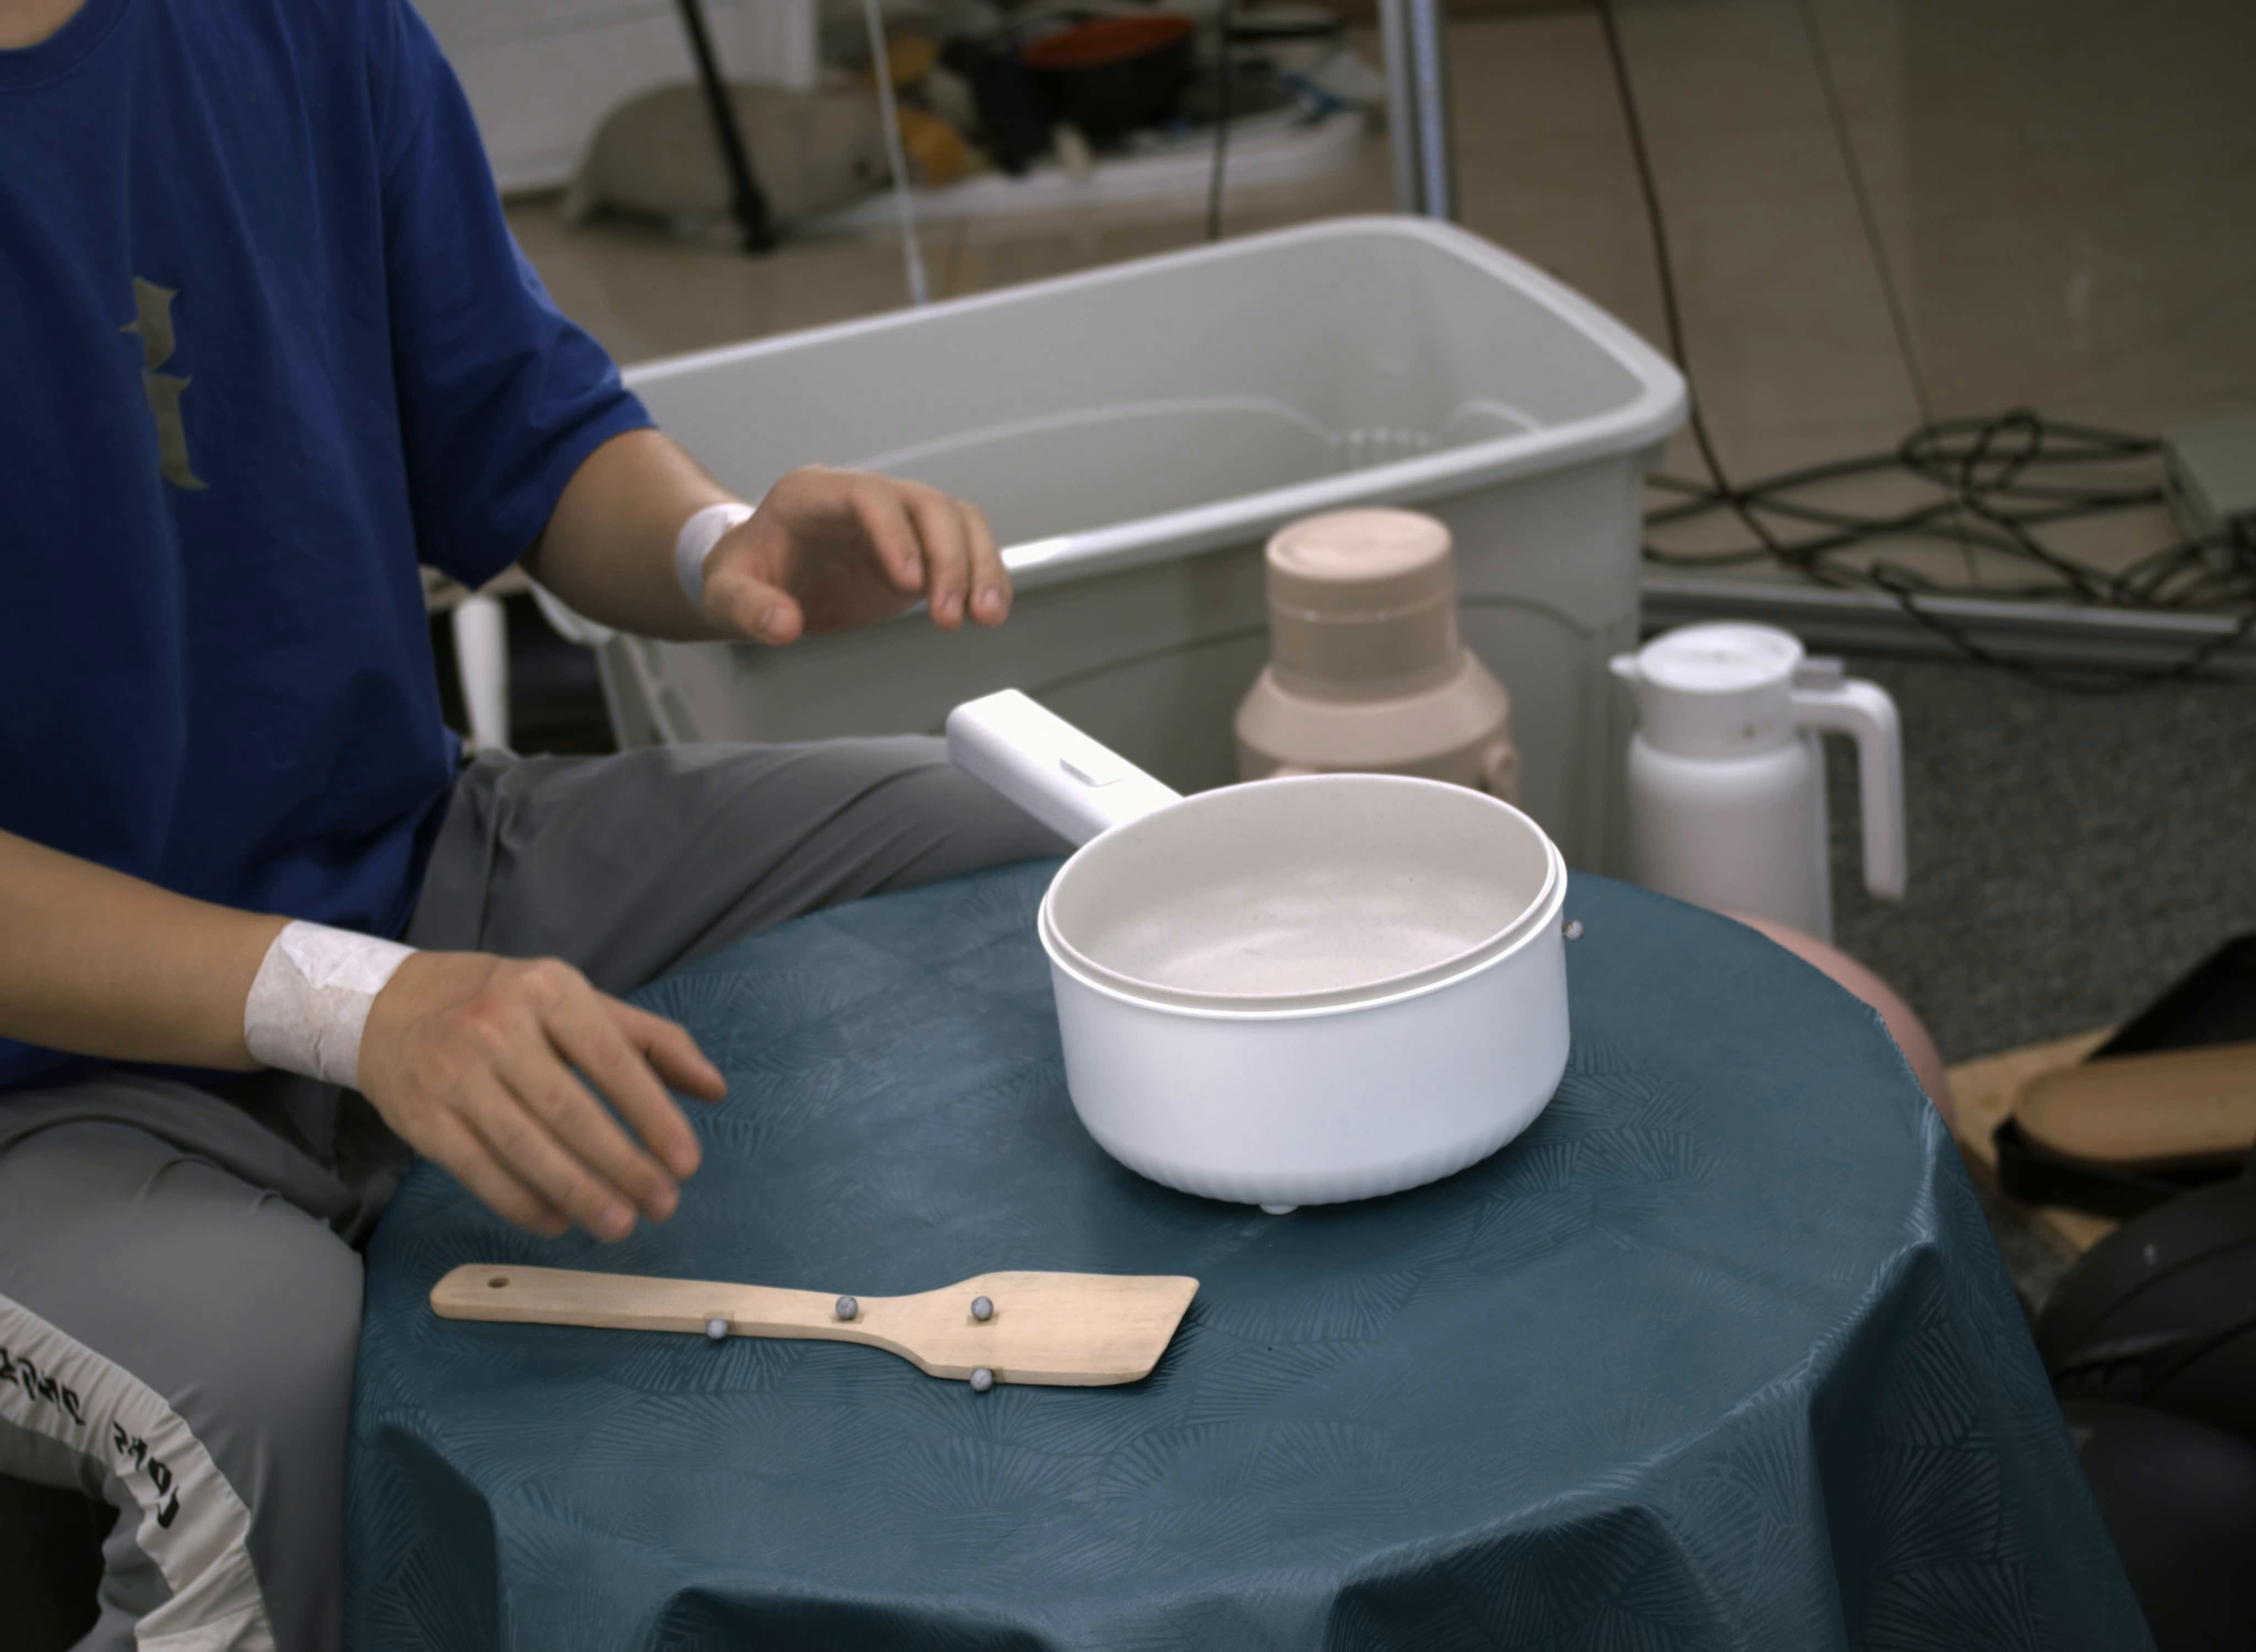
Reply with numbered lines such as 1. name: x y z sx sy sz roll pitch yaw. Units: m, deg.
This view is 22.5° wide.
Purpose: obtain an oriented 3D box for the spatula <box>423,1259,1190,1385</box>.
1. spatula: -0.124 0.177 2.083 0.292 0.011 0.071 2 27 18

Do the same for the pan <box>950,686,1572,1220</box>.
1. pan: 0.032 0.044 2.227 0.200 0.104 0.351 -21 29 -24
